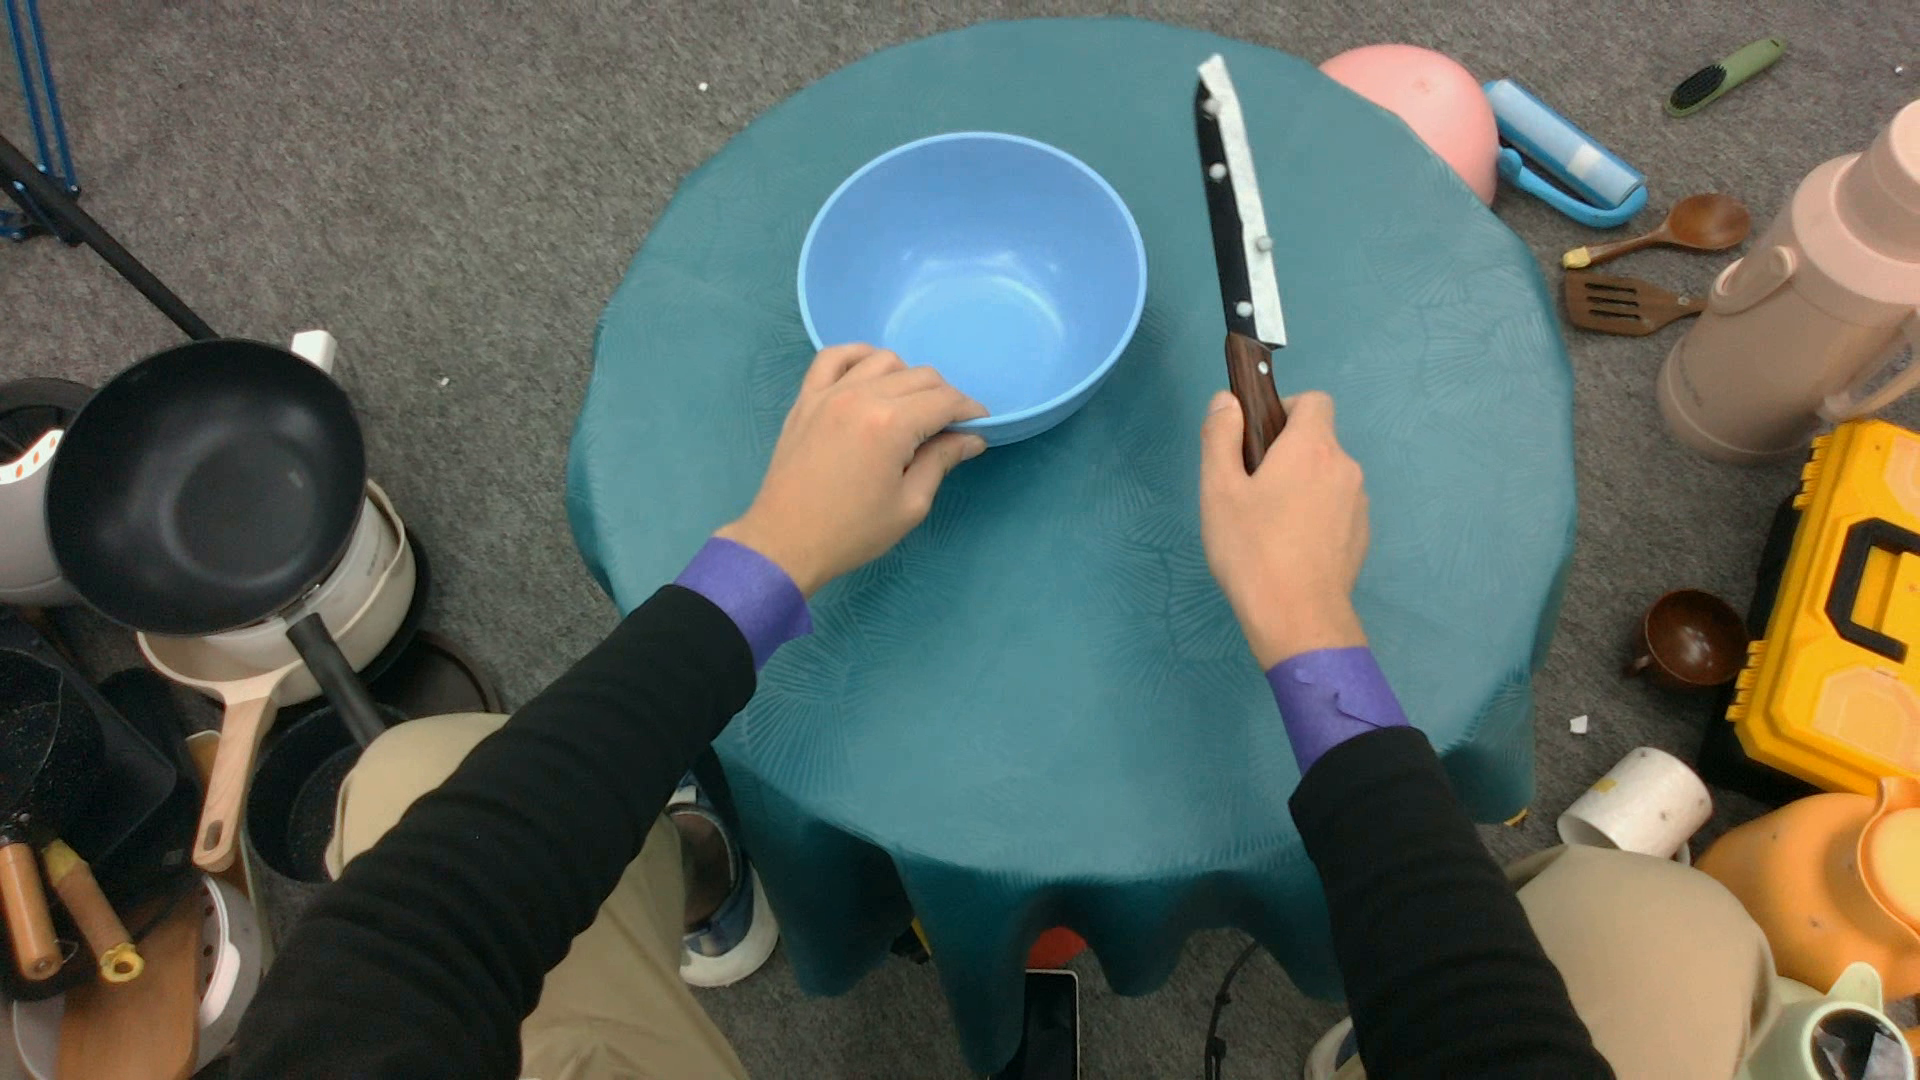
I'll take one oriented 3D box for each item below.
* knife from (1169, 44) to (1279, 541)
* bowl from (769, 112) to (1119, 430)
[{"bbox_3d":[0.142,-0.140,0.747,0.050,0.020,0.289,5,74,-36],"label":"knife"},{"bbox_3d":[-0.008,-0.143,0.813,0.196,0.095,0.197,0,68,1],"label":"bowl"}]
